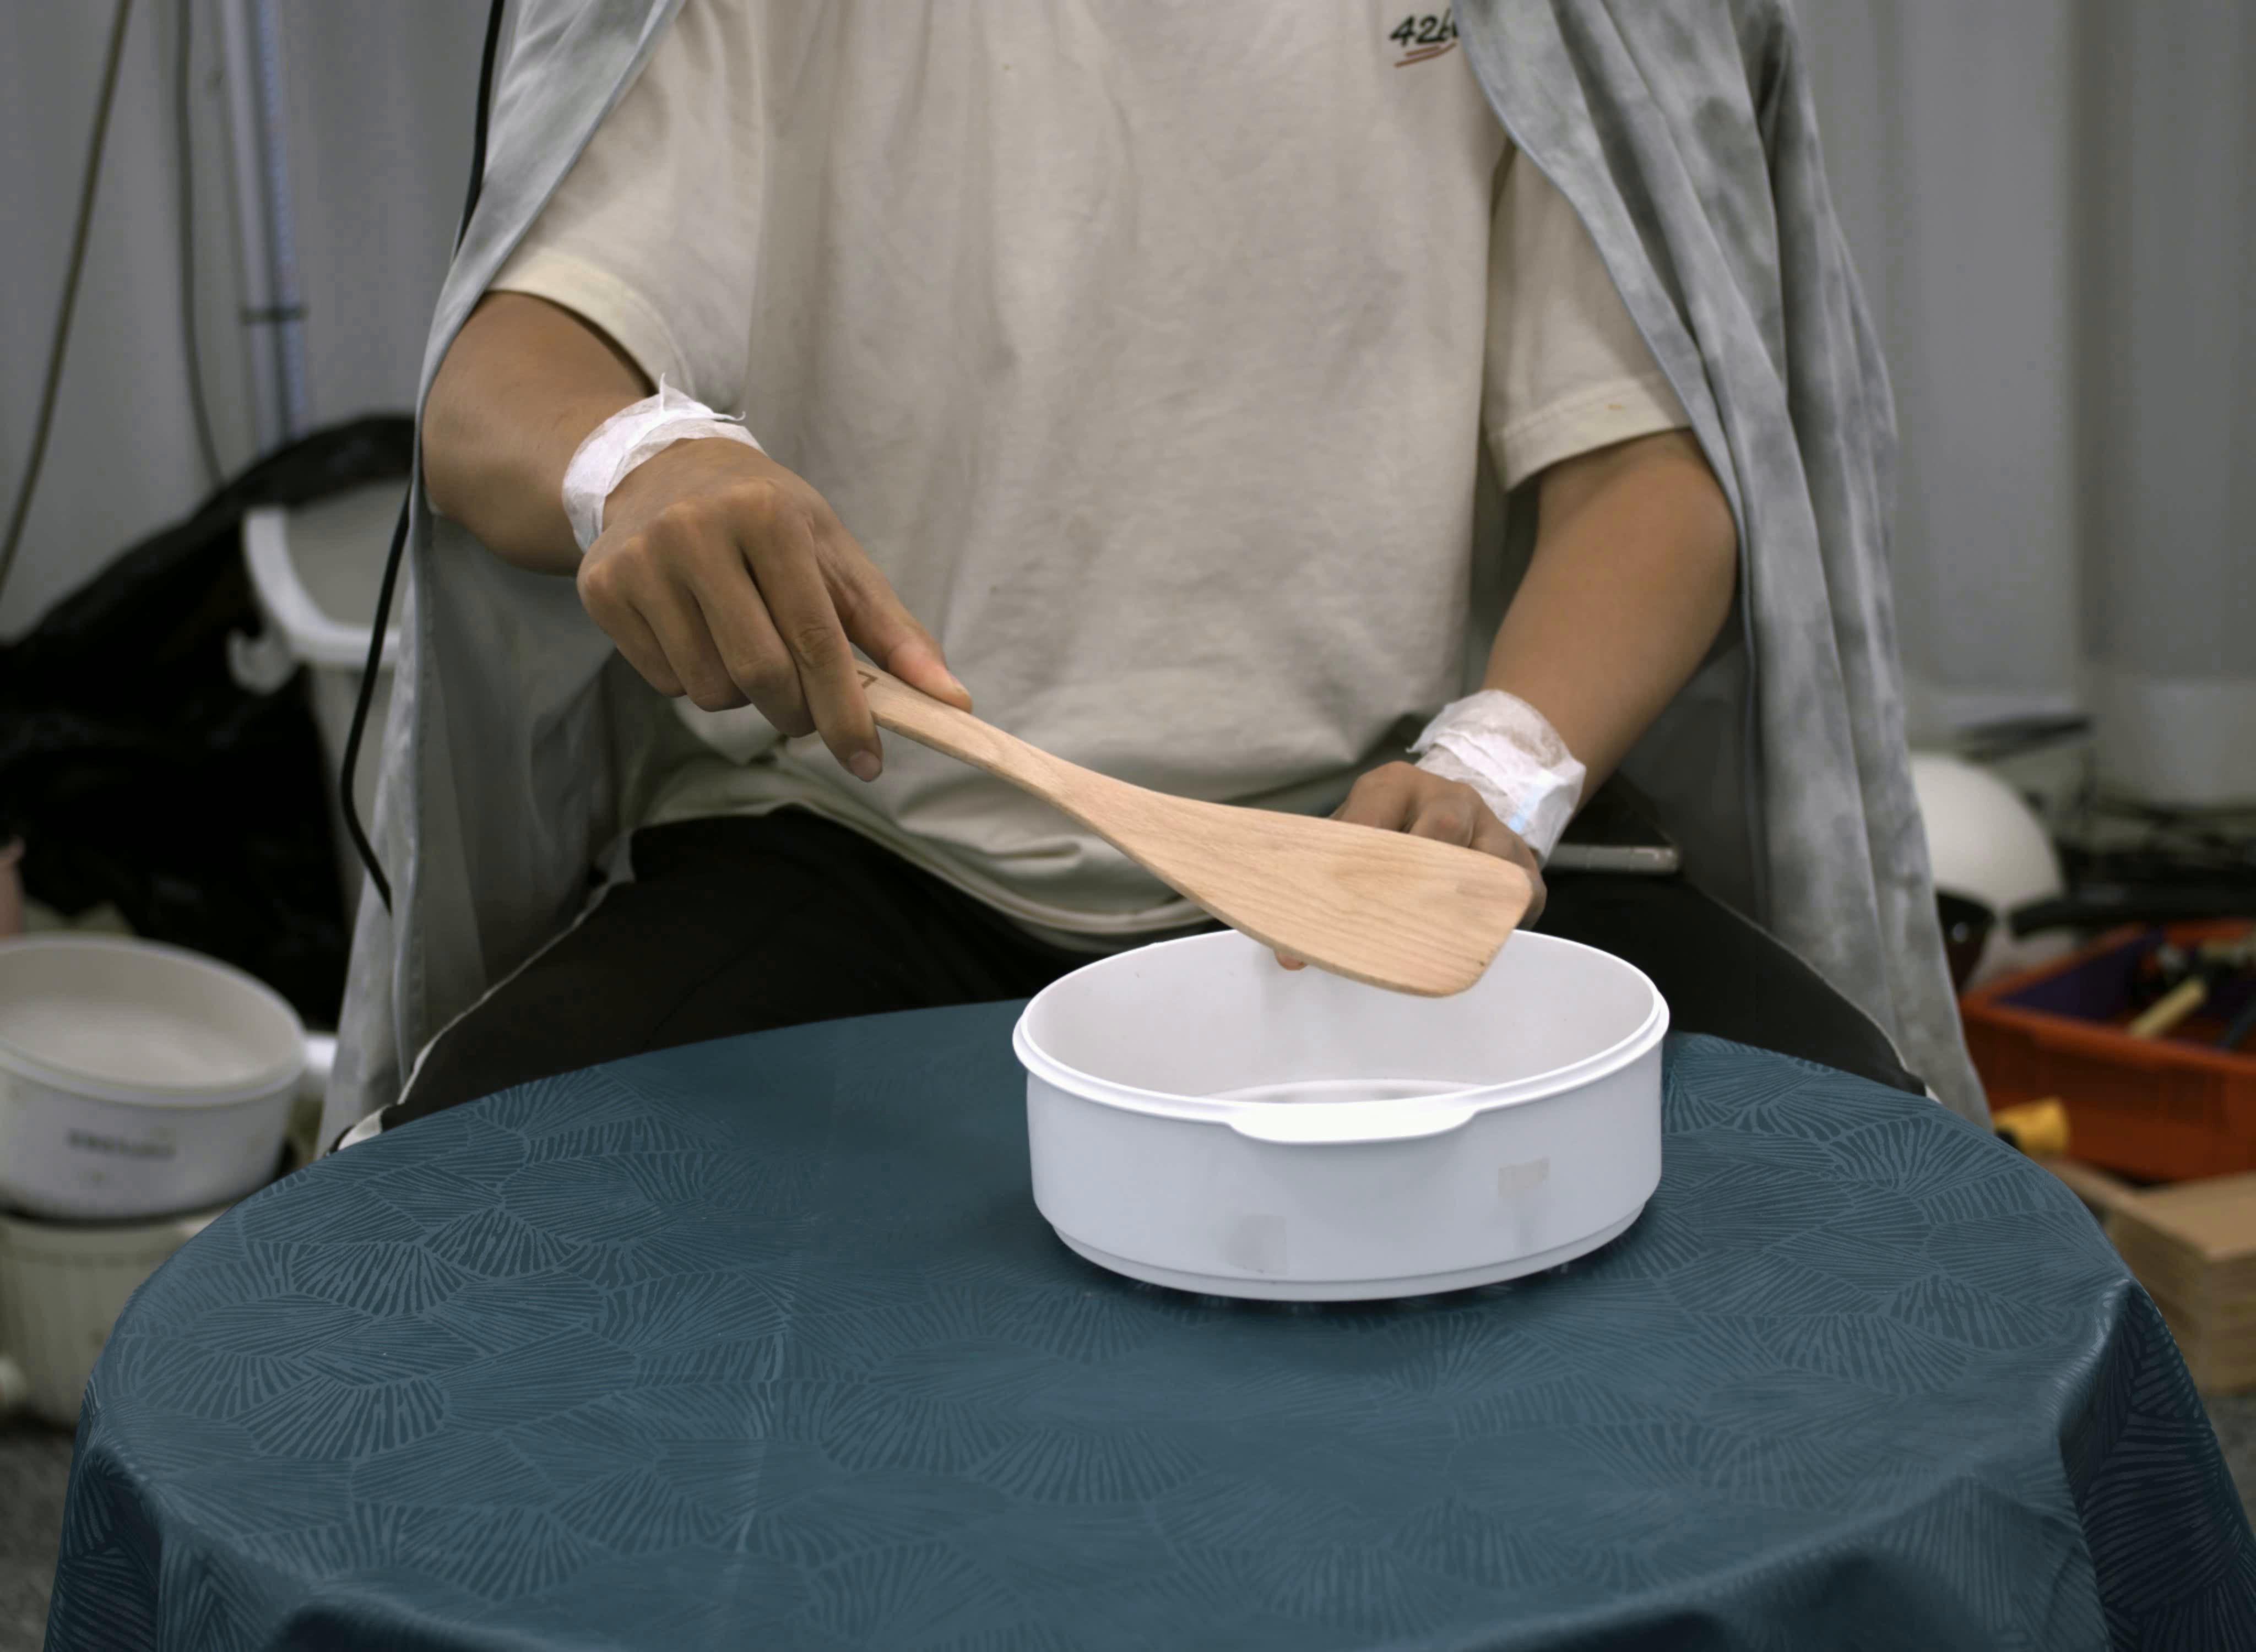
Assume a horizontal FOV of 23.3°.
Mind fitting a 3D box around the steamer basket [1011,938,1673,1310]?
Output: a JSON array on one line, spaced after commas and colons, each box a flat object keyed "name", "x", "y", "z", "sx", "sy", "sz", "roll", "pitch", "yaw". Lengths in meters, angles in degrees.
[{"name": "steamer basket", "x": 0.066, "y": 0.090, "z": 1.673, "sx": 0.201, "sy": 0.069, "sz": 0.232, "roll": -1, "pitch": 14, "yaw": 1}]

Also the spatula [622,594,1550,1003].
[{"name": "spatula", "x": -0.019, "y": -0.016, "z": 1.678, "sx": 0.329, "sy": 0.016, "sz": 0.080, "roll": 23, "pitch": 37, "yaw": 24}]
